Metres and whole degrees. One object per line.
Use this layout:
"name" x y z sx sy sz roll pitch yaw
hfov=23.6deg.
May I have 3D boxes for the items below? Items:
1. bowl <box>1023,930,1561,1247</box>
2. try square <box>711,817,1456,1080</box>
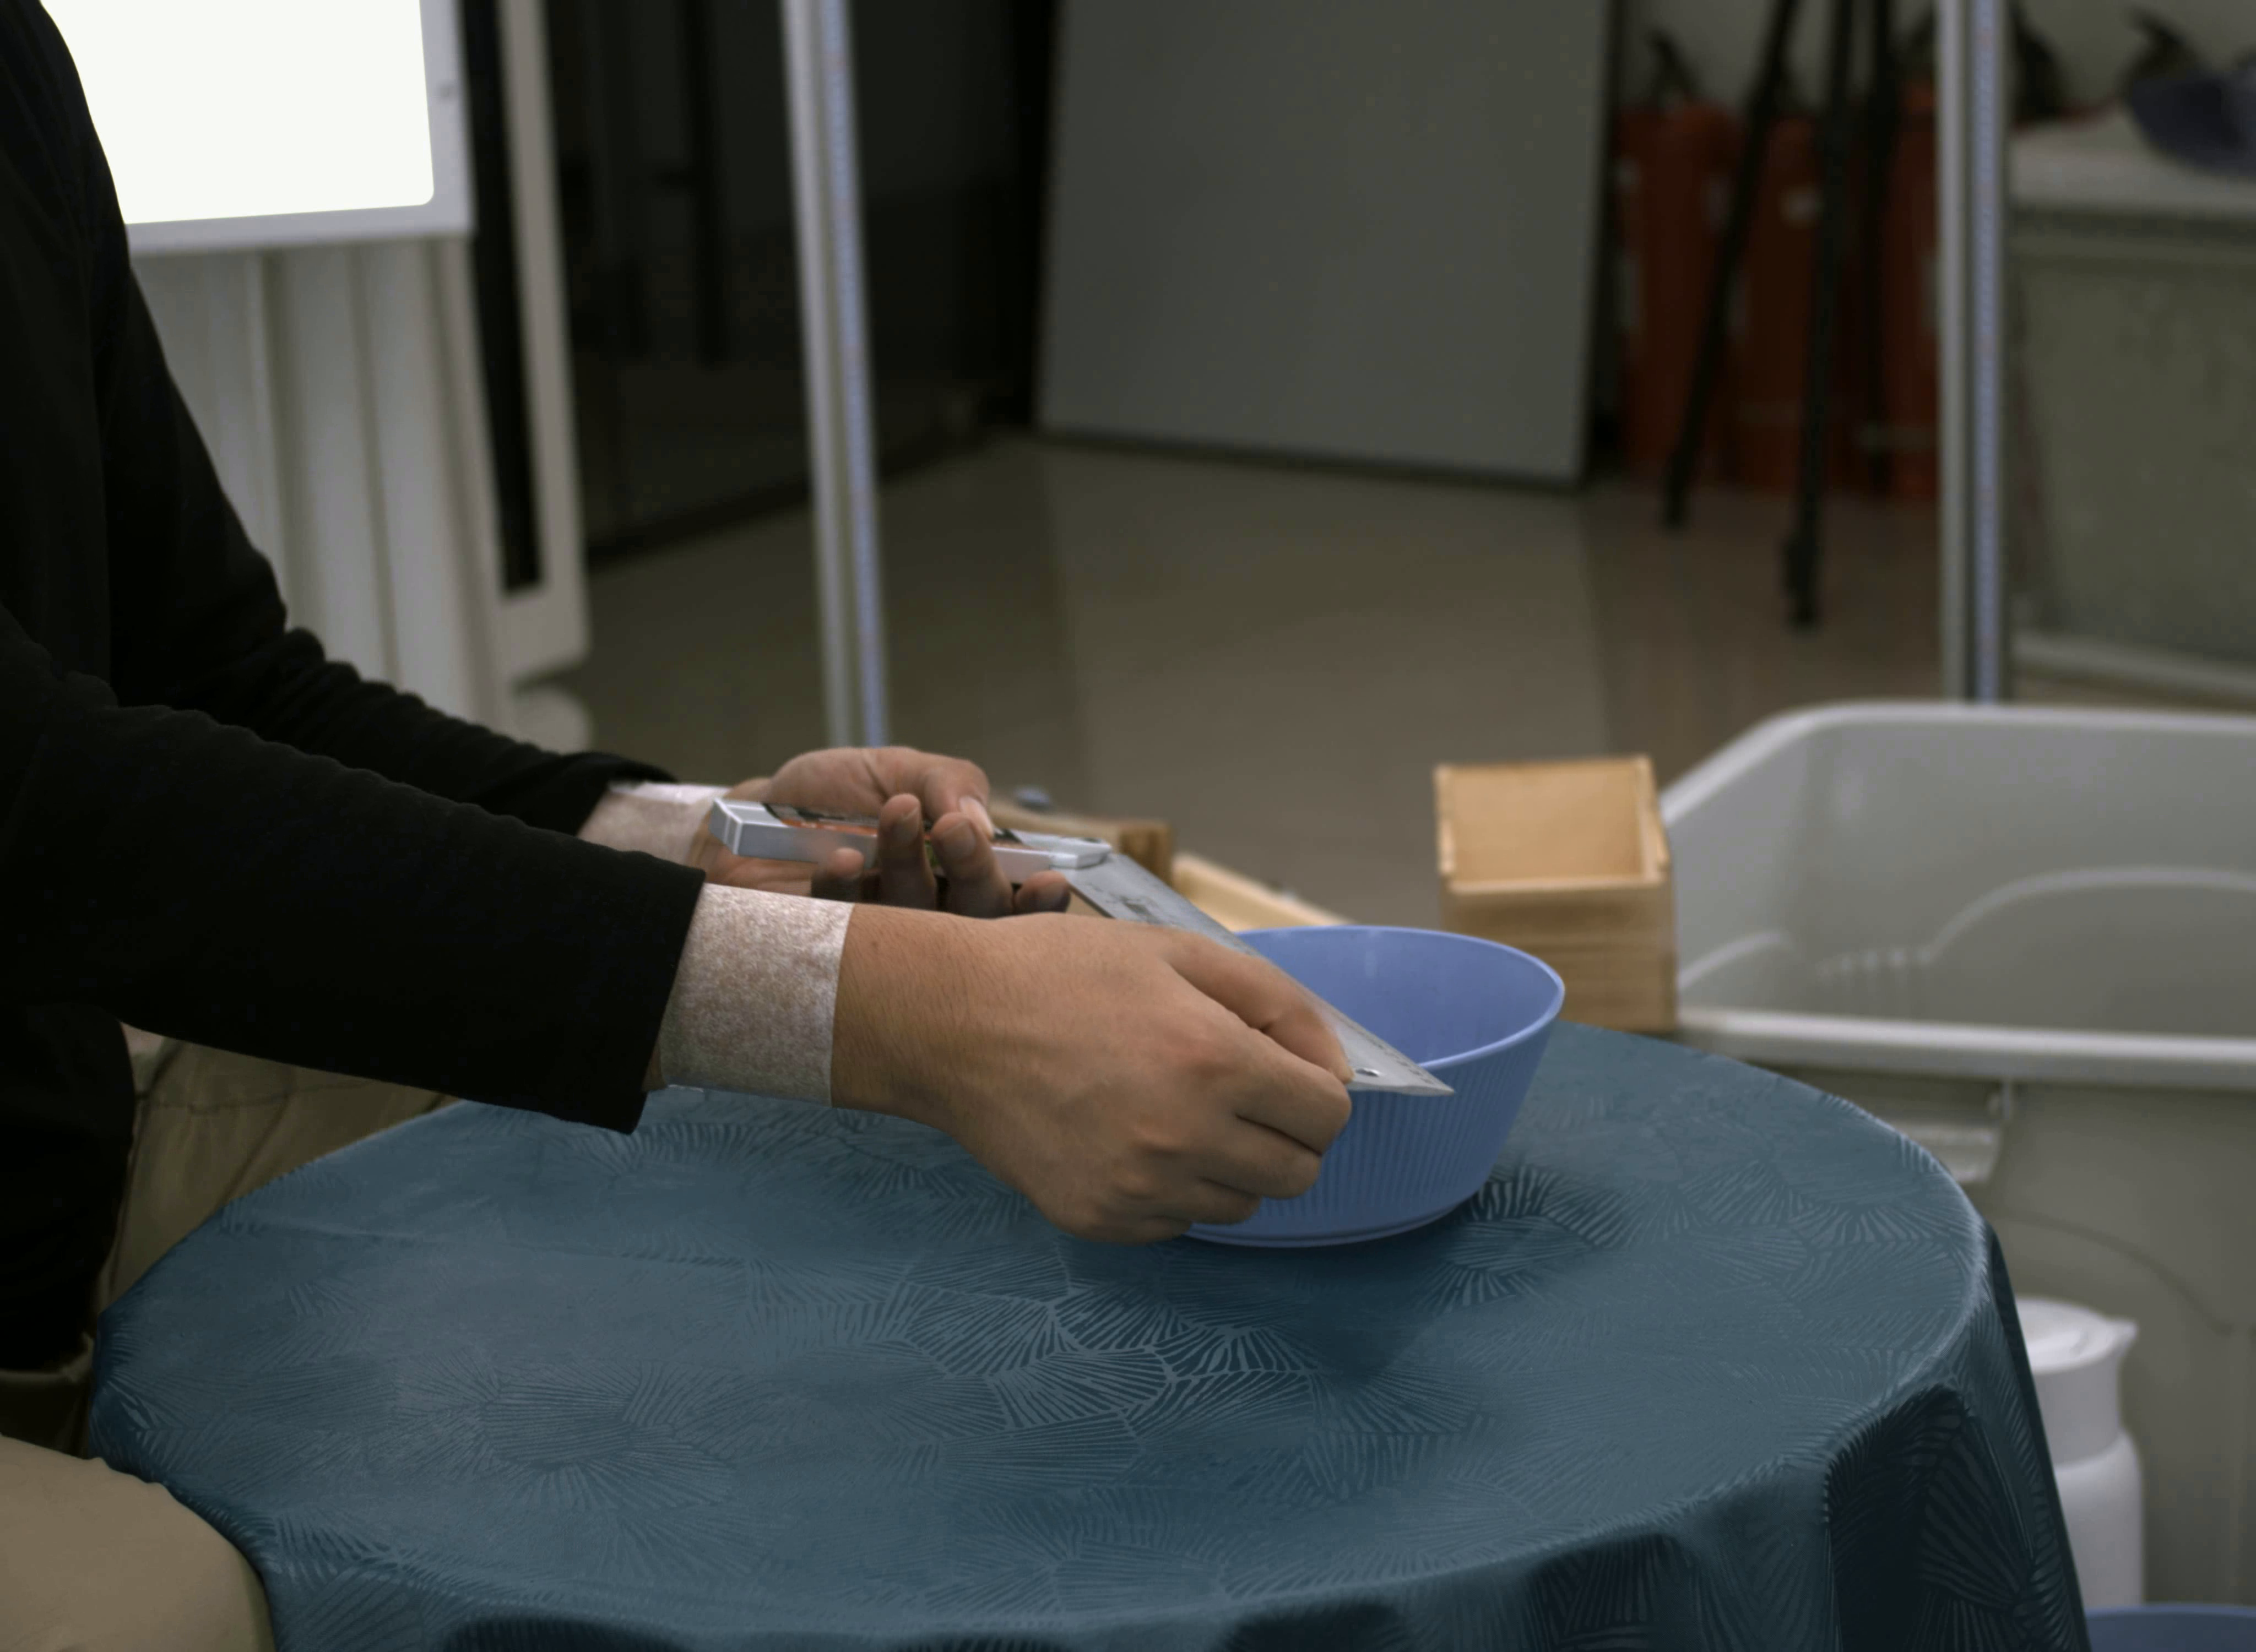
"bowl" 0.054 0.087 1.745 0.174 0.071 0.176 -4 14 0
"try square" -0.022 0.038 1.695 0.149 0.016 0.315 3 11 -18
